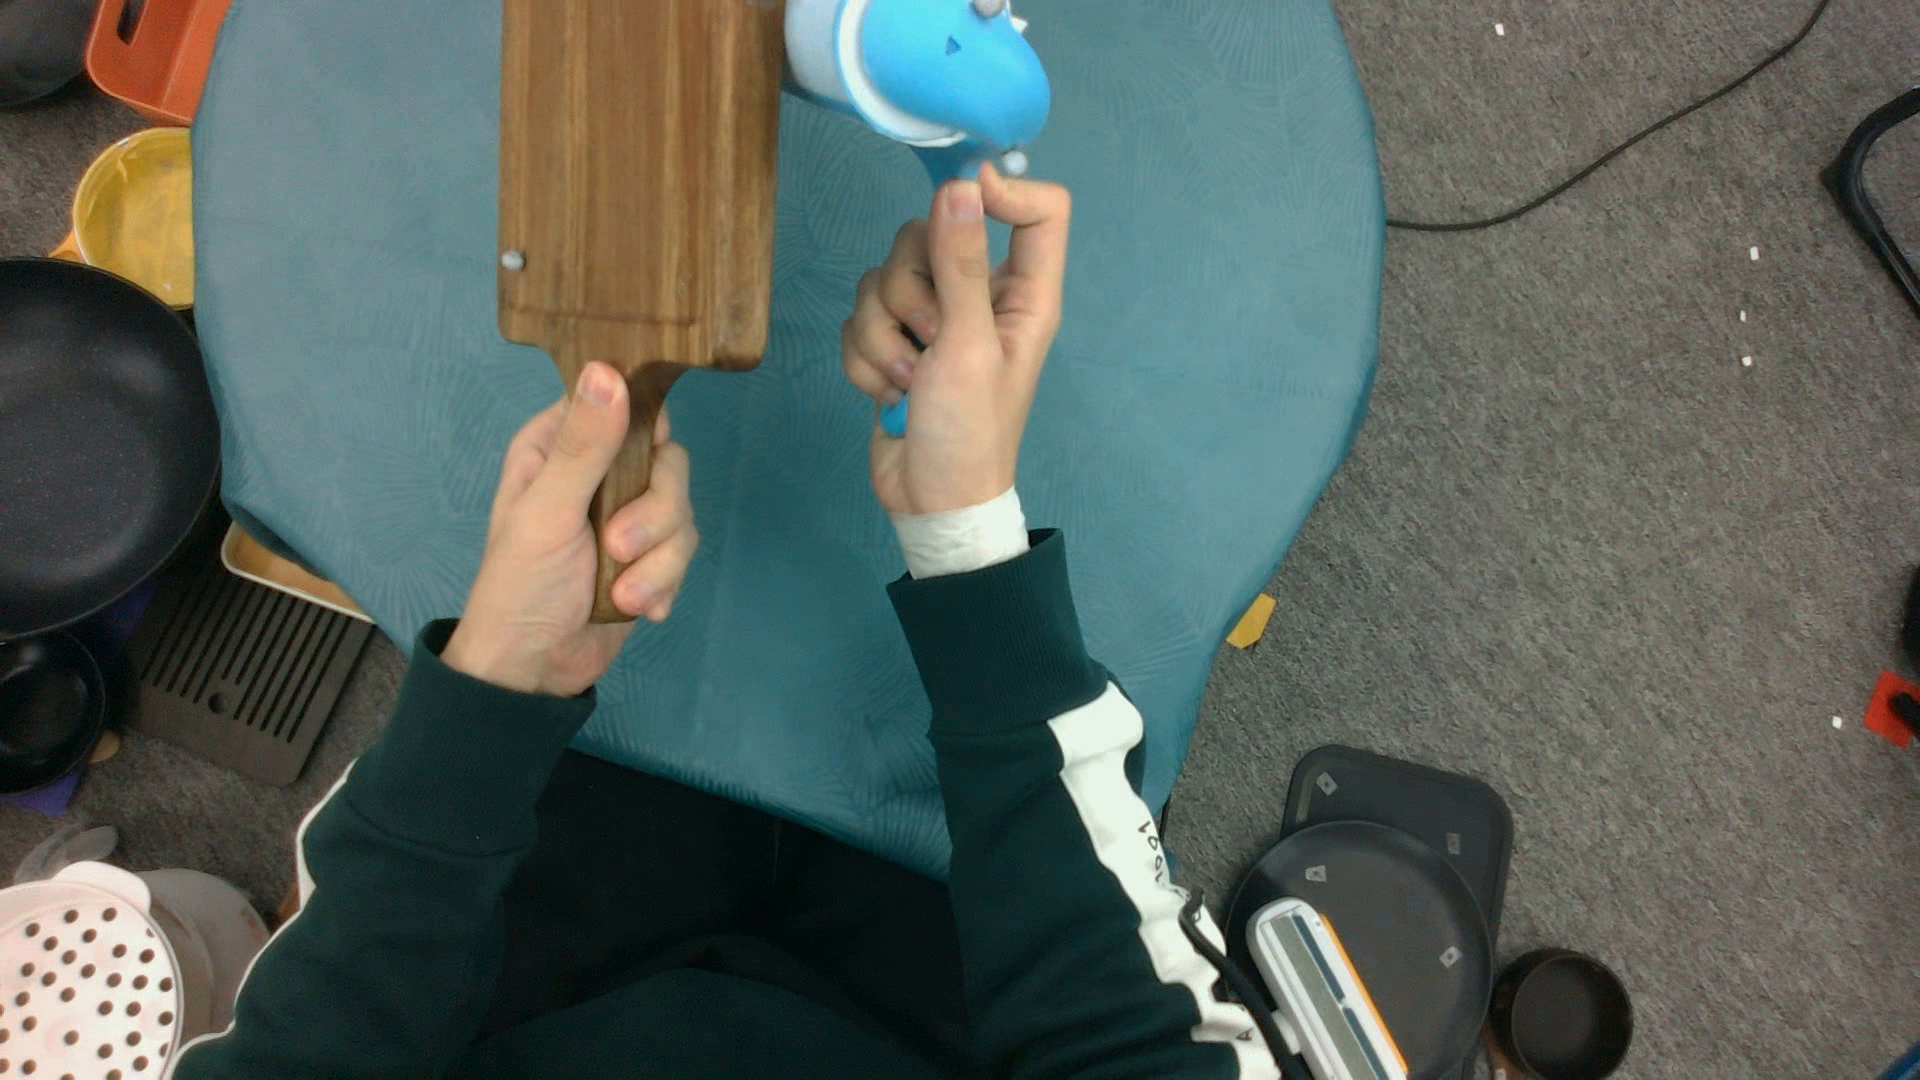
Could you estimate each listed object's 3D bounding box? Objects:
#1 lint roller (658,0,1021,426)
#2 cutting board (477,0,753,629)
[{"bbox_3d":[-0.038,-0.132,0.501,0.068,0.229,0.179,-28,124,-13],"label":"lint roller"},{"bbox_3d":[-0.132,-0.142,0.497,0.023,0.200,0.351,-4,99,-38],"label":"cutting board"}]
